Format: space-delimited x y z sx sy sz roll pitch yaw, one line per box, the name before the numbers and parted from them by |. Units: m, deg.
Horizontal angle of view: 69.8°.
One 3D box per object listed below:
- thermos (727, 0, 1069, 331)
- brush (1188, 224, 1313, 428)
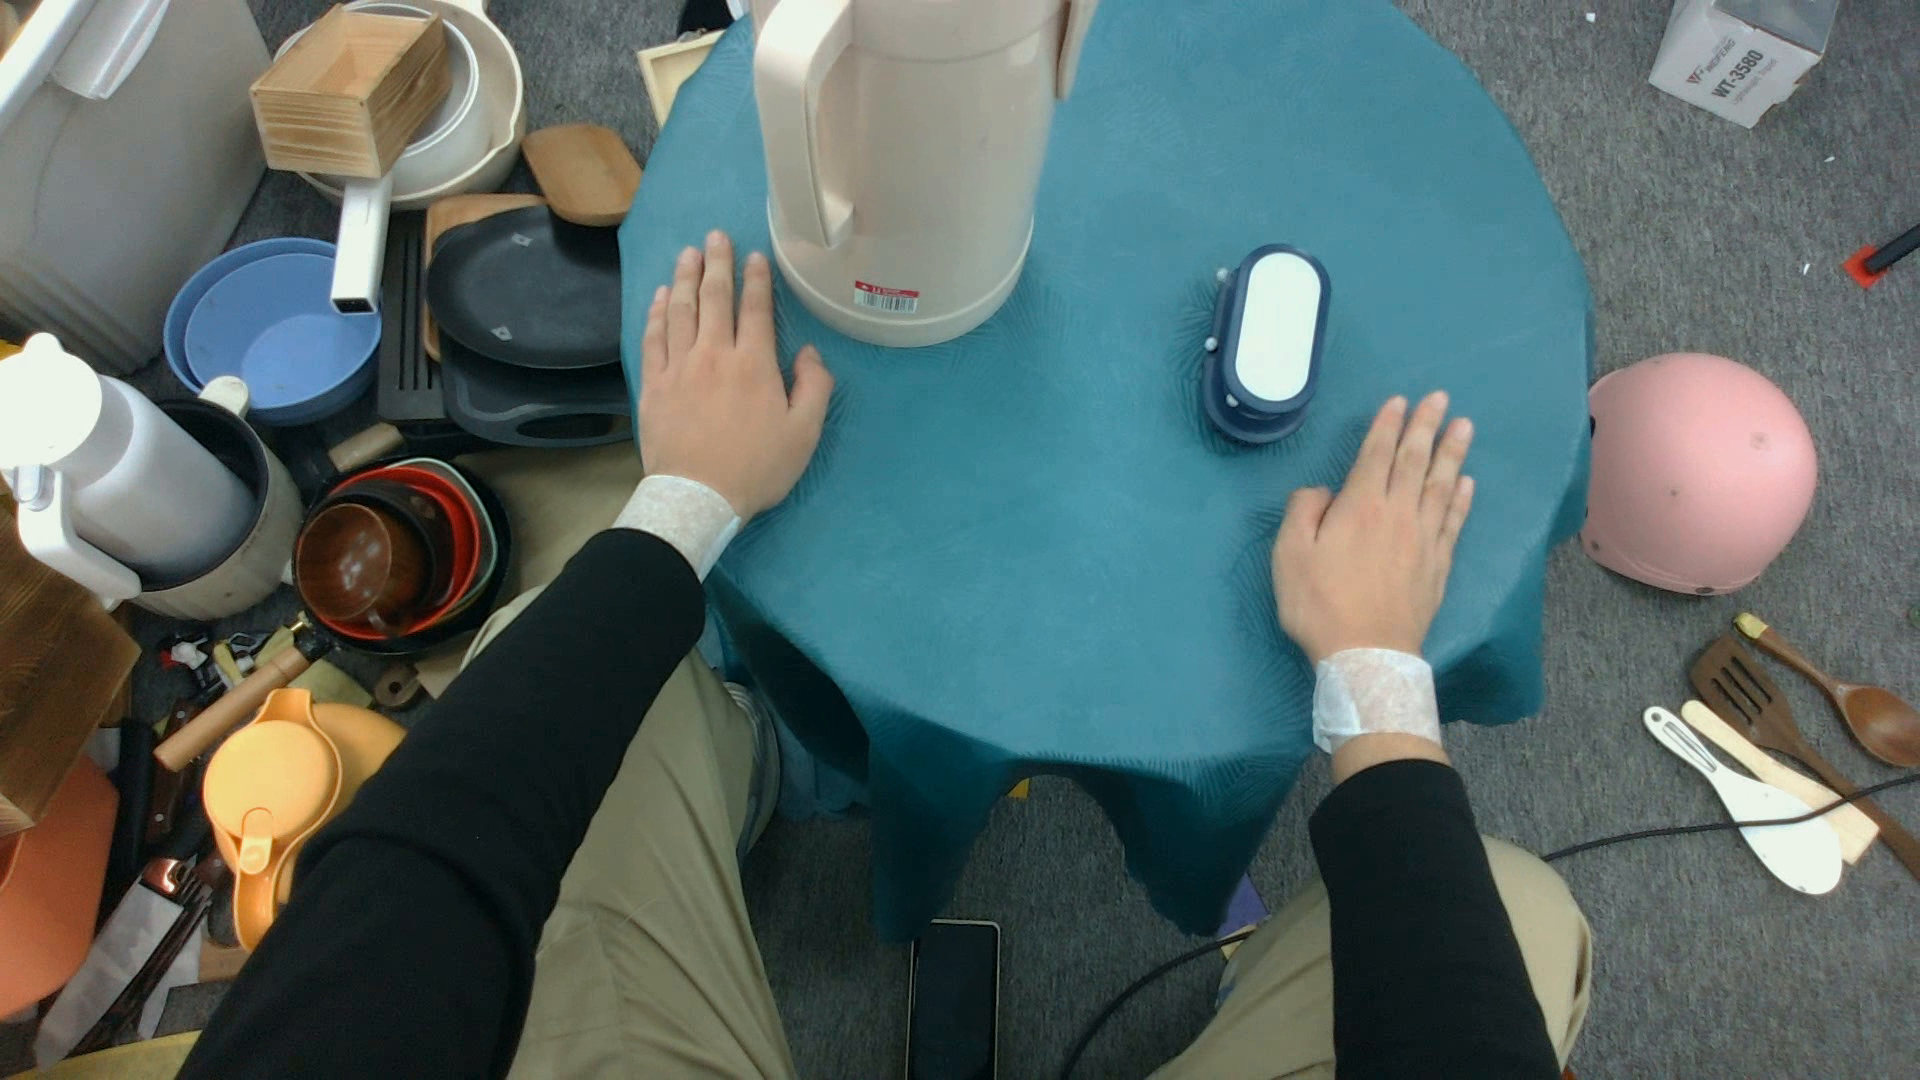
thermos | -0.042 -0.250 0.659 0.175 0.405 0.208 28 70 3
brush | 0.172 -0.125 0.817 0.068 0.061 0.122 13 70 2
